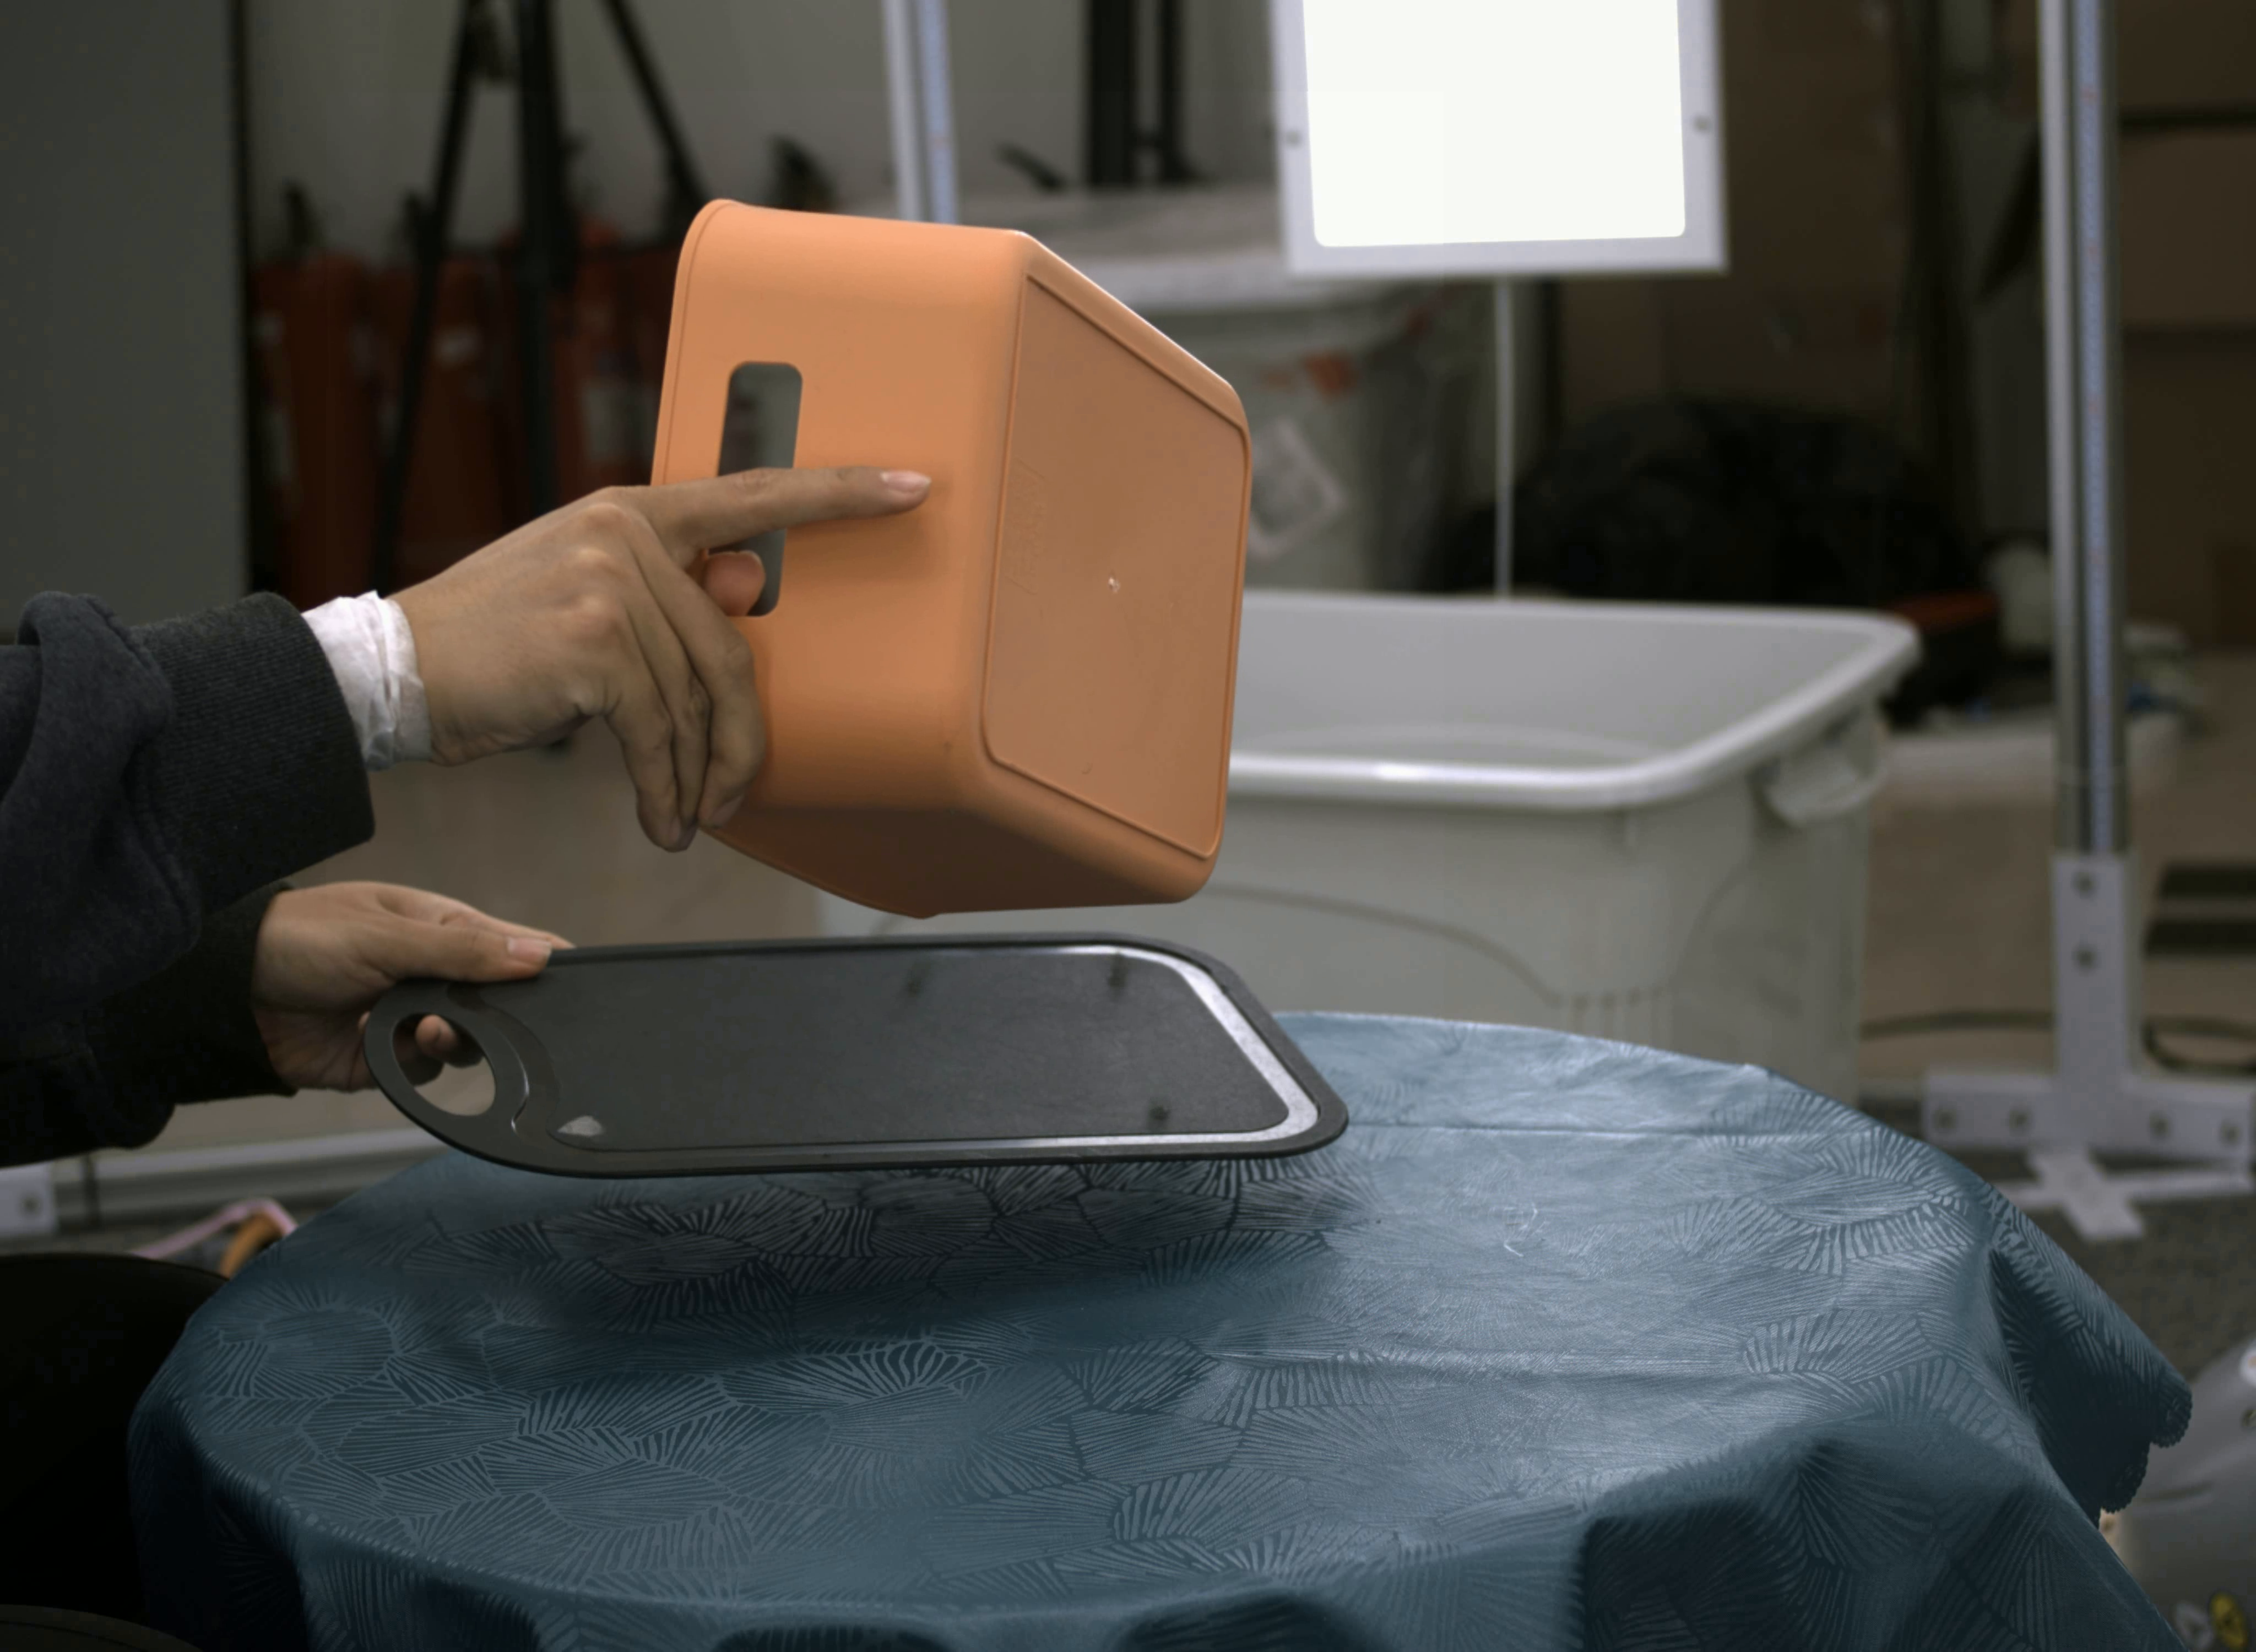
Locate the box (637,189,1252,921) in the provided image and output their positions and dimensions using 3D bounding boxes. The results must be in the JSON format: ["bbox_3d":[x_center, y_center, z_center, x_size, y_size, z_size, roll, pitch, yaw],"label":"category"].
[{"bbox_3d":[-0.048,-0.077,1.705,0.104,0.199,0.269,2,-9,21],"label":"box"}]

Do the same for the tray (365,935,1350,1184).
[{"bbox_3d":[-0.096,0.076,1.881,0.320,0.010,0.213,-1,19,-15],"label":"tray"}]
